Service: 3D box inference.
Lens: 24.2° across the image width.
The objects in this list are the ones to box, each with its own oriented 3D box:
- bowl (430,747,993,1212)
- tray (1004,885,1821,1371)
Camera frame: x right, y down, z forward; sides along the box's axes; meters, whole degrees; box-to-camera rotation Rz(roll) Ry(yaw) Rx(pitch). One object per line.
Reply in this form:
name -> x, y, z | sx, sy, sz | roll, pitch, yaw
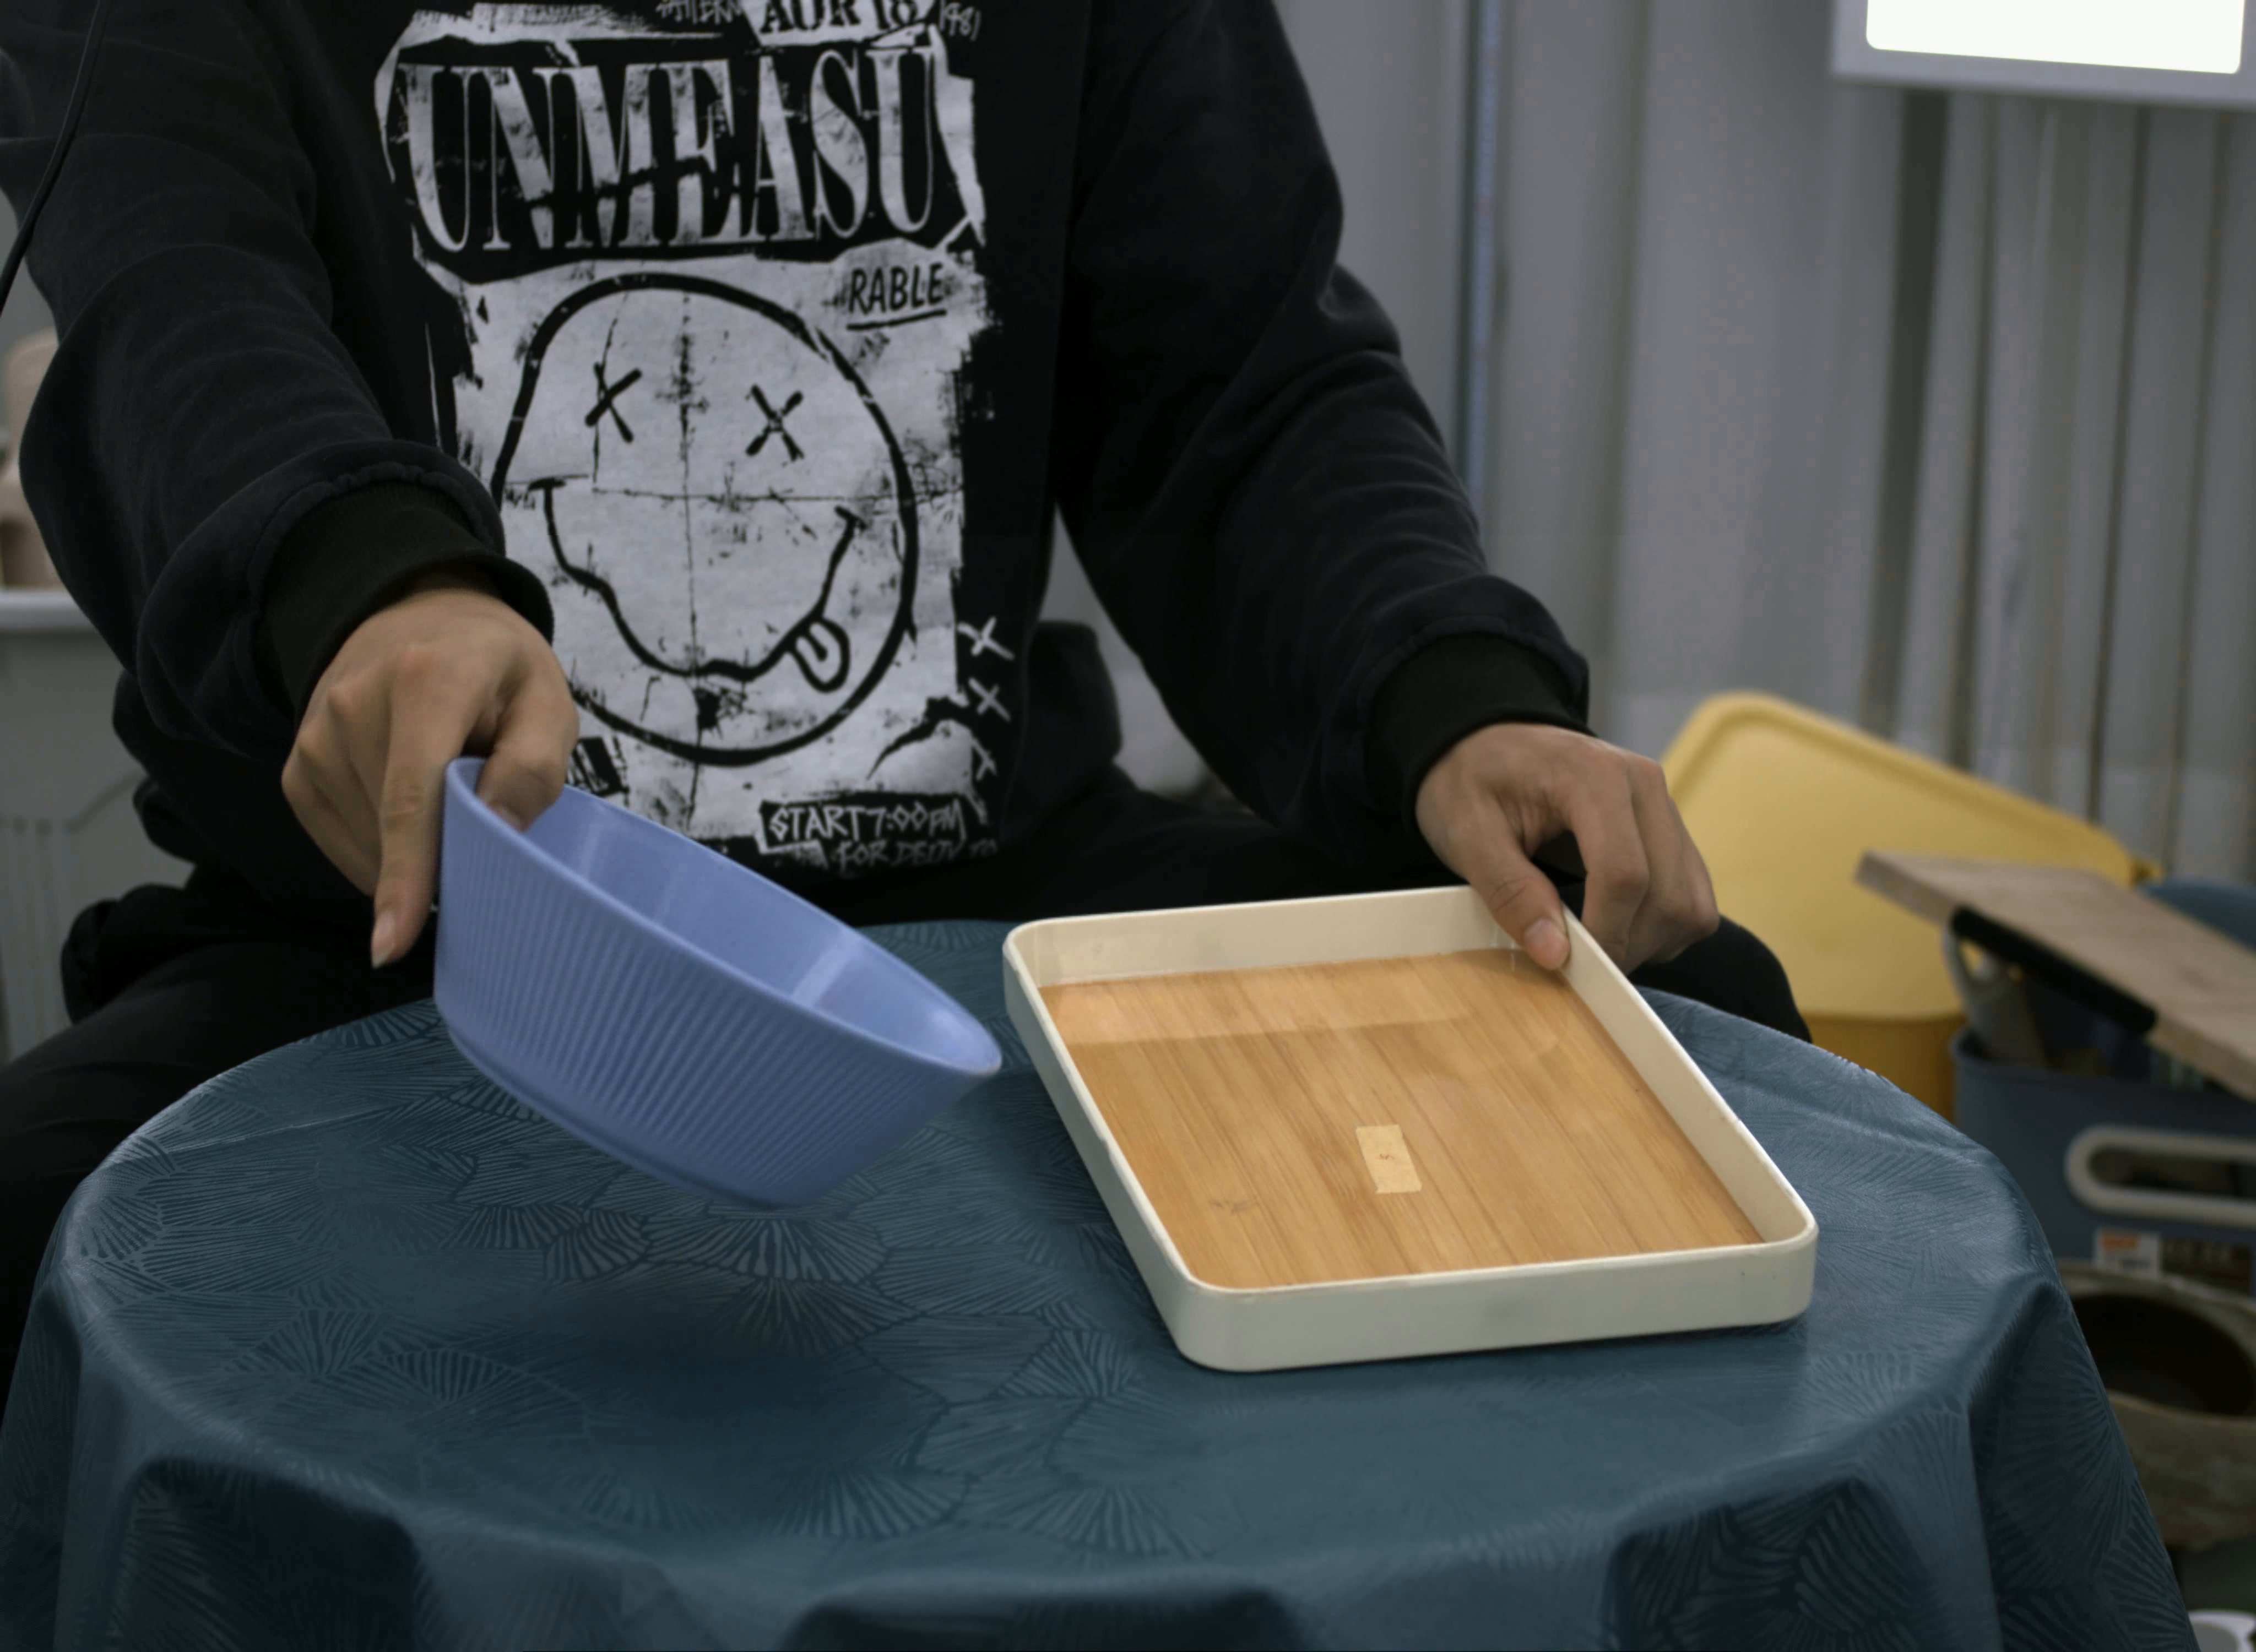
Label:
bowl -> -0.129, 0.050, 1.475 | 0.176, 0.070, 0.176 | 32, 5, -3
tray -> 0.079, 0.087, 1.624 | 0.192, 0.027, 0.297 | -3, 21, -12
